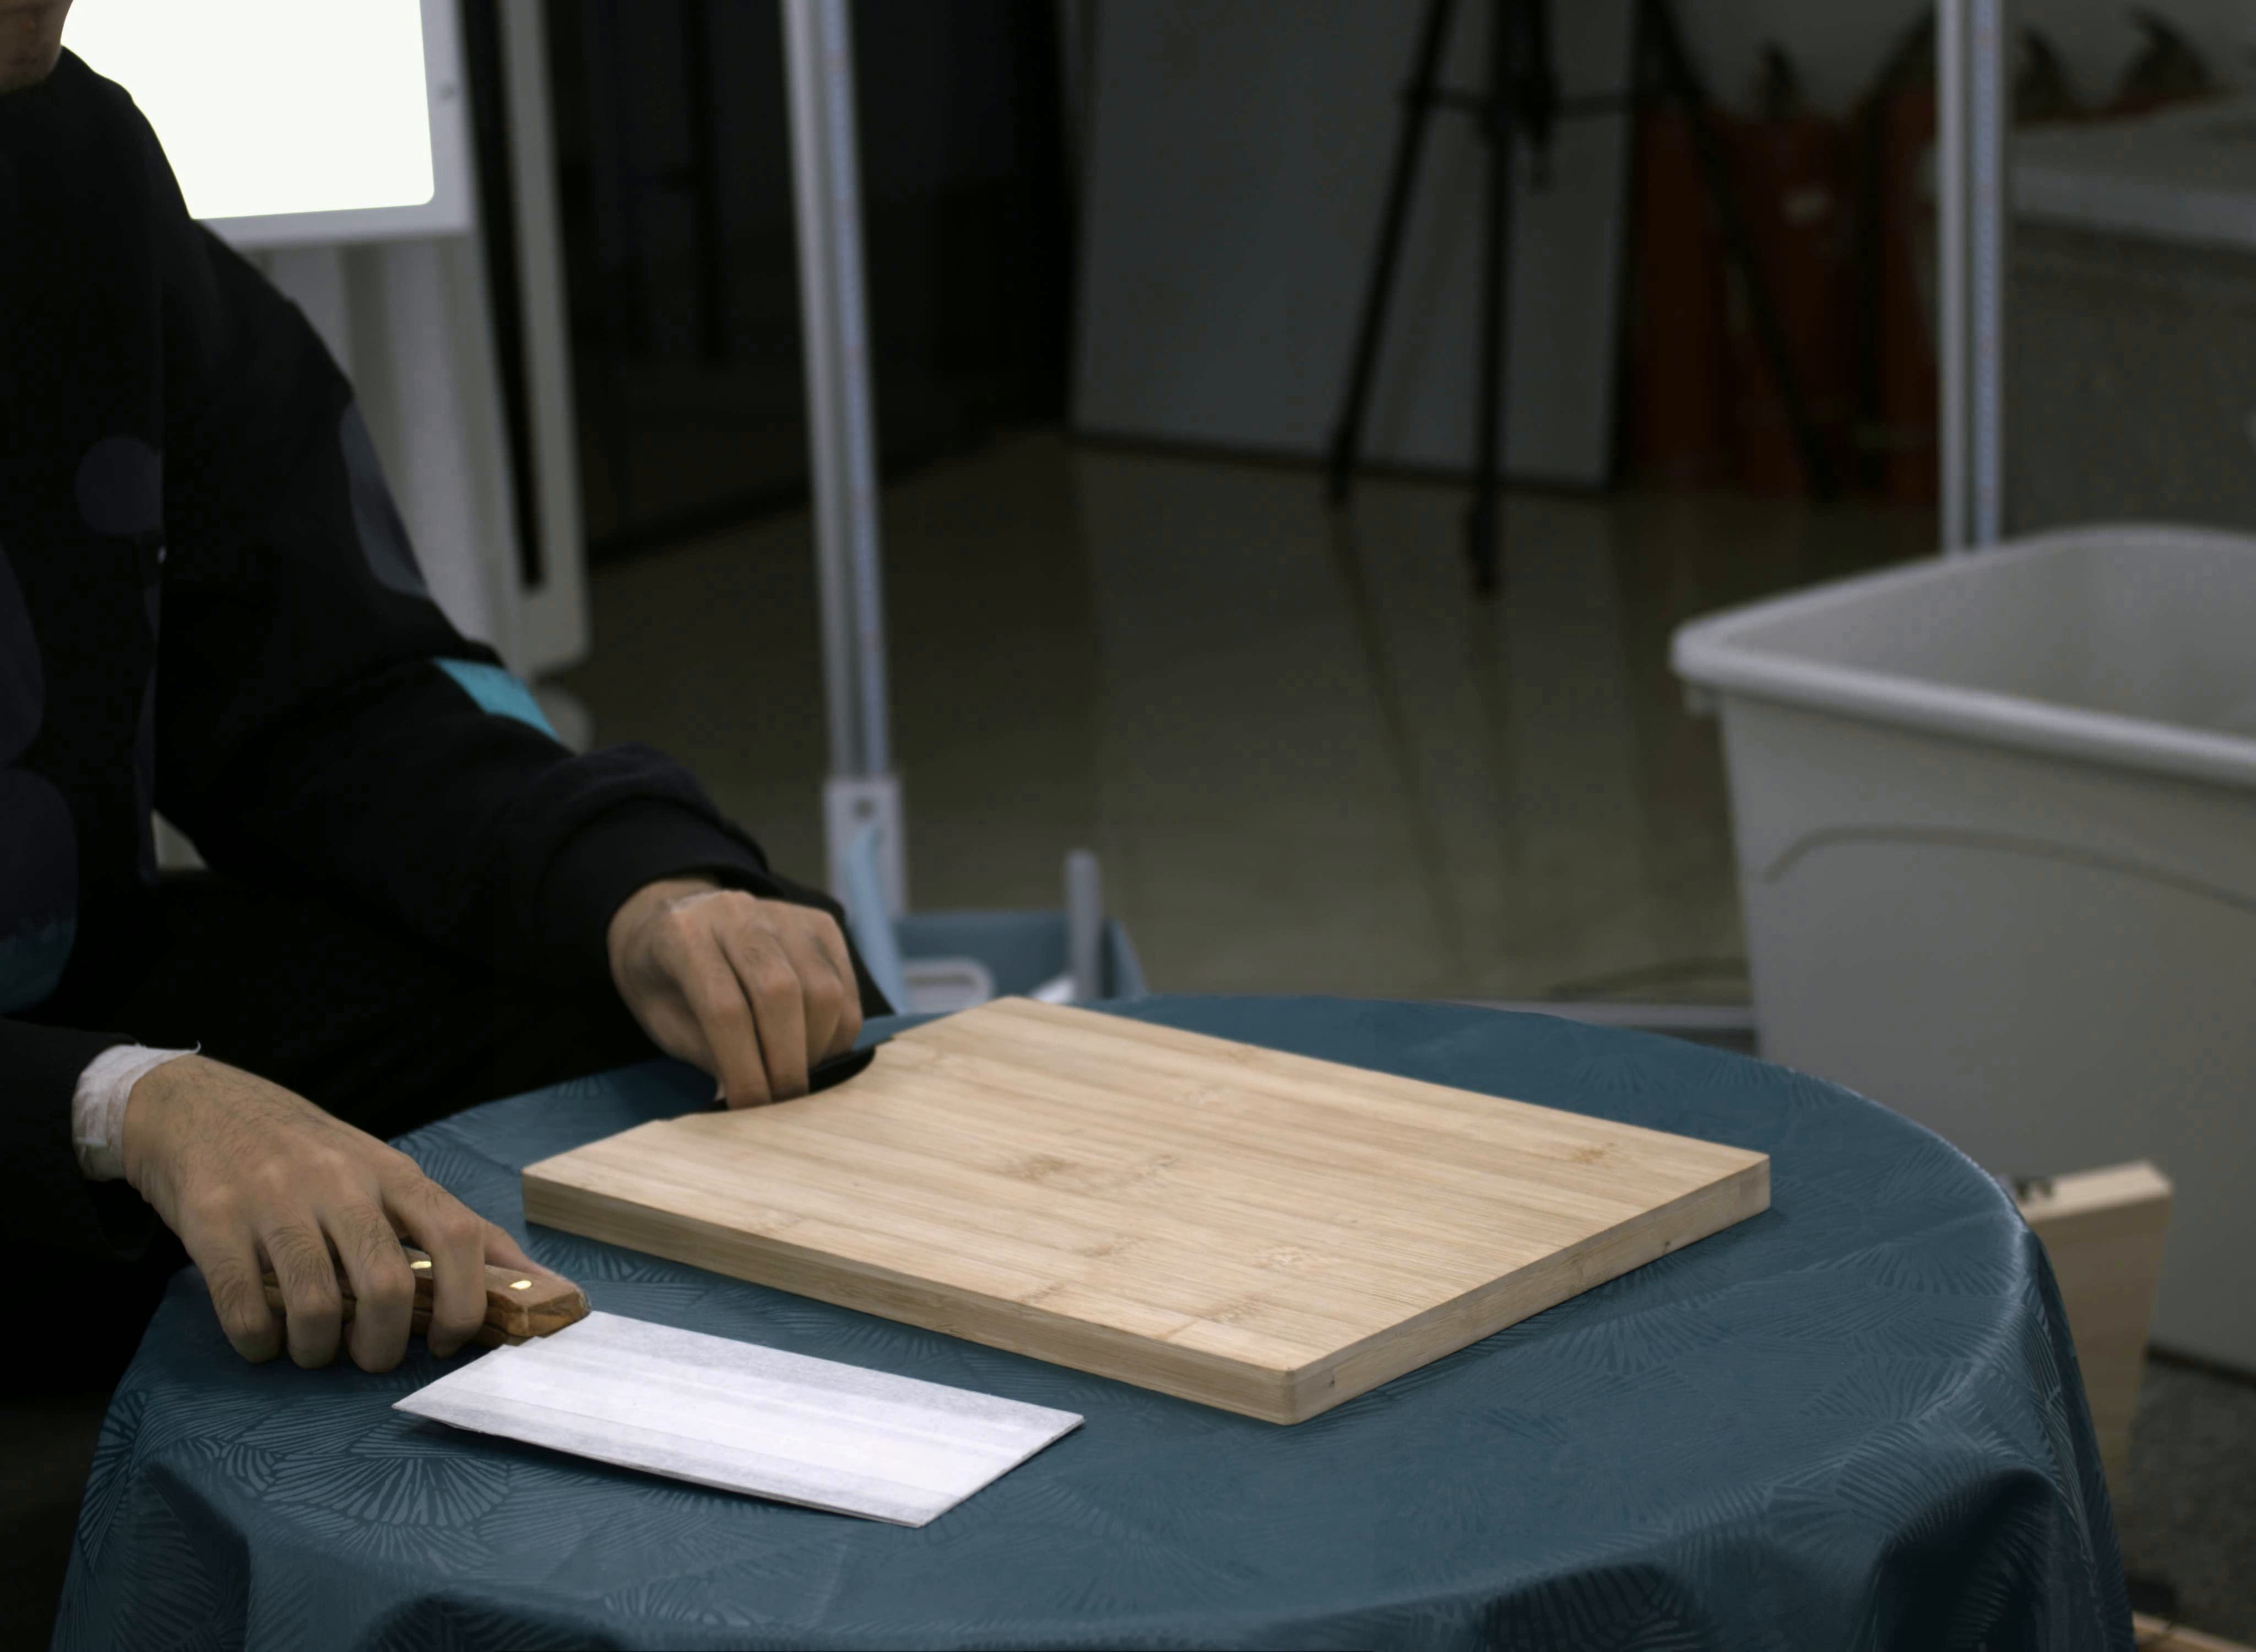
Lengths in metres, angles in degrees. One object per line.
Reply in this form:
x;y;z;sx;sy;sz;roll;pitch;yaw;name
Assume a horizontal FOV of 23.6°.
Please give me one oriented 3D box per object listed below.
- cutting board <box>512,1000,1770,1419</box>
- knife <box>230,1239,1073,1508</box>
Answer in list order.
0.001;0.118;1.748;0.351;0.024;0.246;9;19;42;cutting board
-0.161;0.165;1.609;0.307;0.021;0.091;8;19;33;knife
